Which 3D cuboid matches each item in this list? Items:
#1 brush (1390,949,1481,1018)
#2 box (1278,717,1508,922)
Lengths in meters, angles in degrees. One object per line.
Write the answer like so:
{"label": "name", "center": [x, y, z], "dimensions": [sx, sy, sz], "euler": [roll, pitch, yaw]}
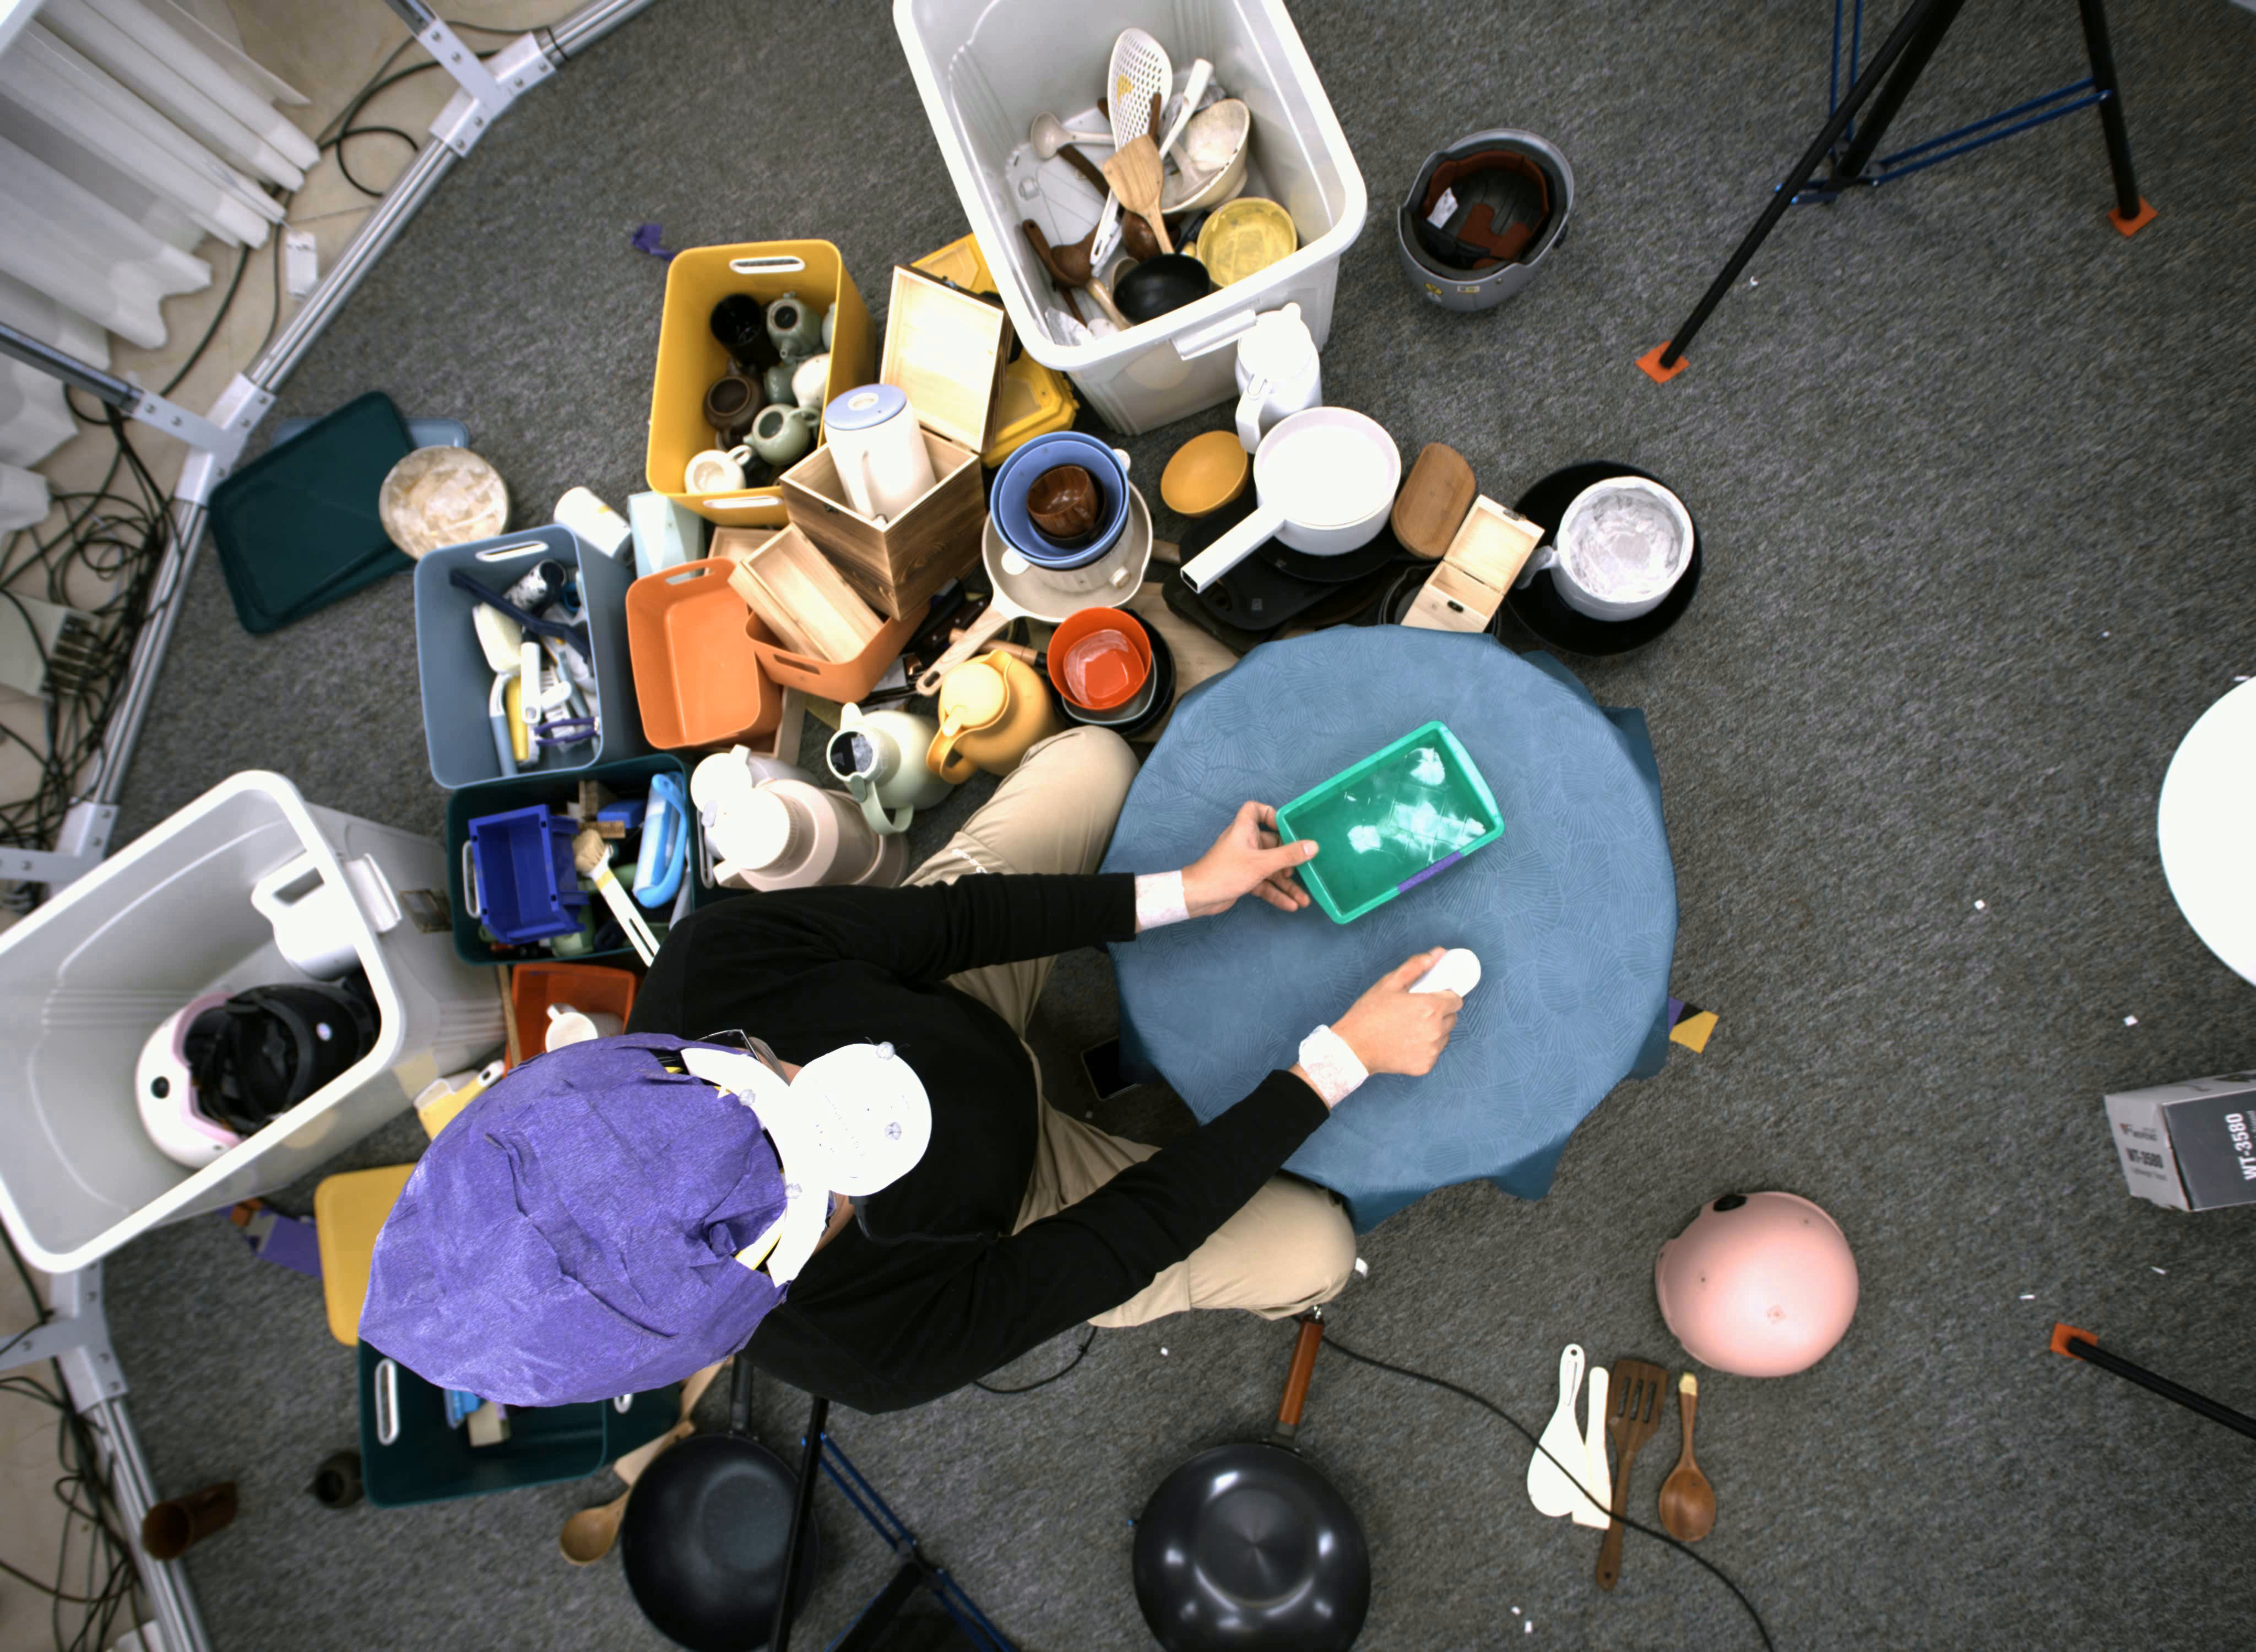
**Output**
{"label": "brush", "center": [0.314, 0.160, 1.410], "dimensions": [0.100, 0.072, 0.050], "euler": [-29, 81, 7]}
{"label": "box", "center": [0.273, -0.005, 1.432], "dimensions": [0.211, 0.065, 0.138], "euler": [-32, 83, 6]}
